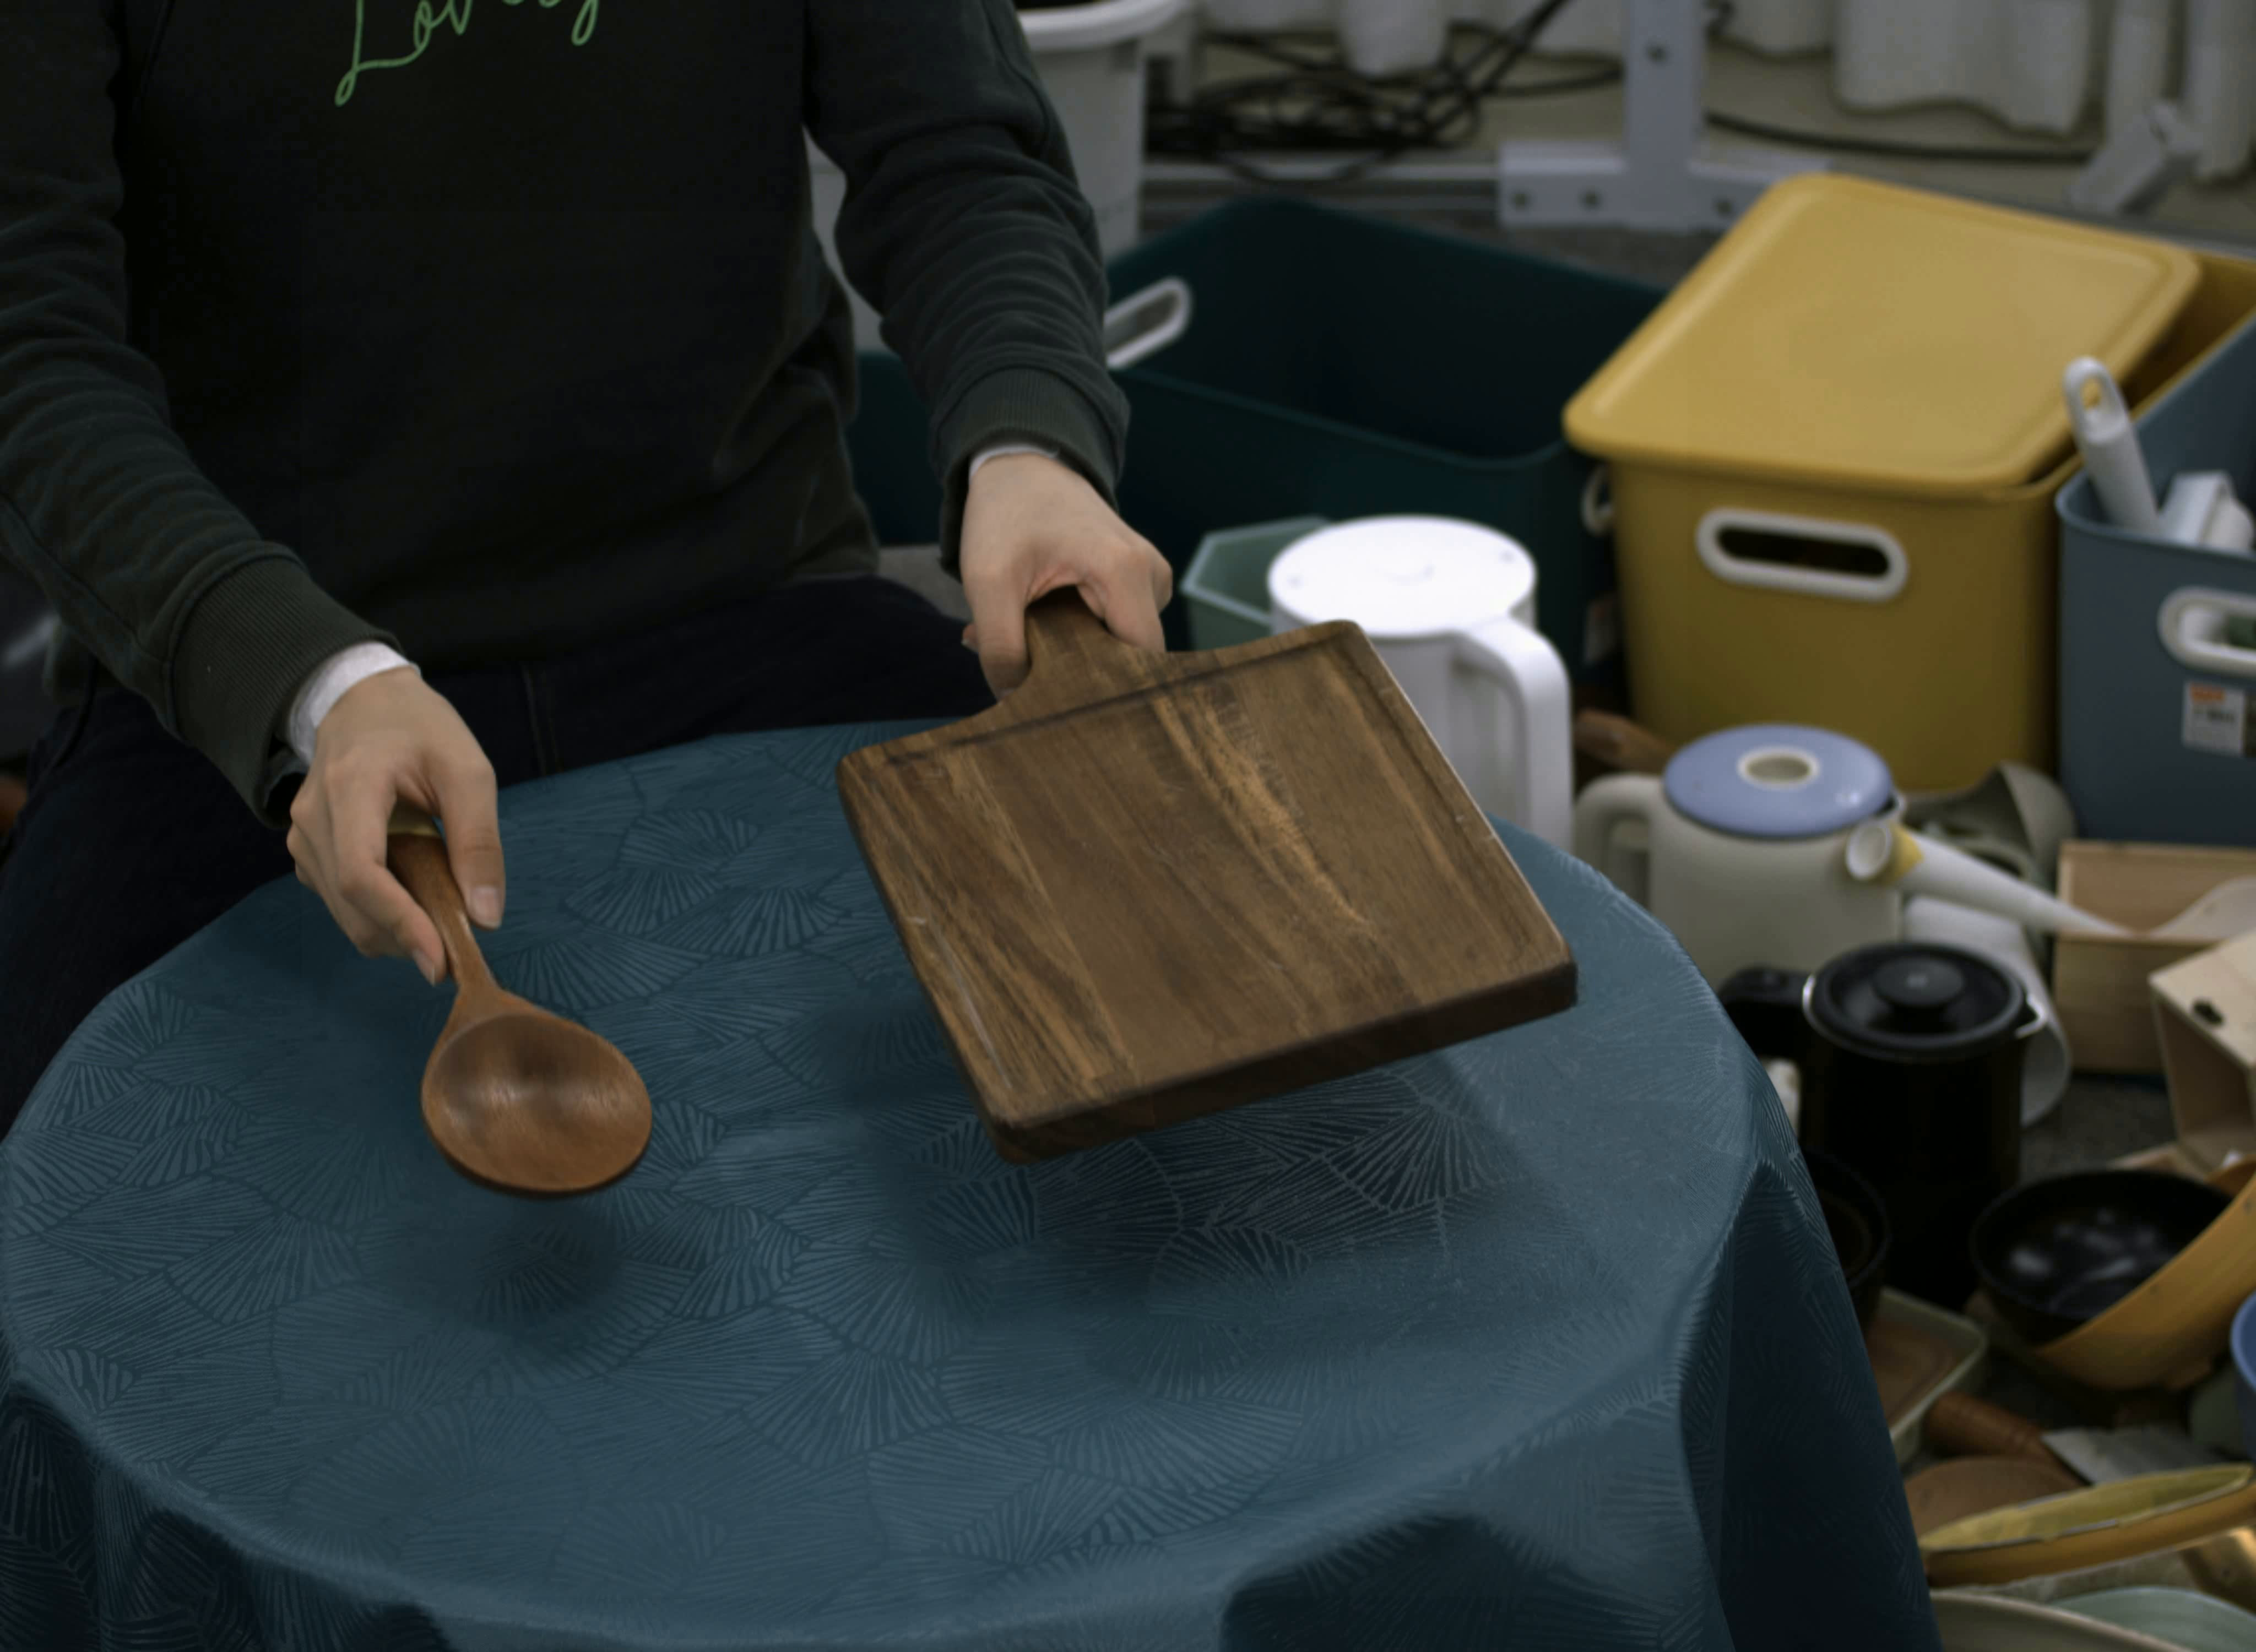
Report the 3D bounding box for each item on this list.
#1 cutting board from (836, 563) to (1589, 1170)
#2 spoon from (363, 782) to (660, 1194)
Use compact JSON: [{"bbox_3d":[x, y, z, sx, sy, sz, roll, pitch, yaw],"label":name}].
[{"bbox_3d":[0.010,-0.006,1.922,0.201,0.023,0.356,-16,31,-8],"label":"cutting board"},{"bbox_3d":[-0.214,0.054,1.864,0.075,0.017,0.218,-11,41,-19],"label":"spoon"}]
